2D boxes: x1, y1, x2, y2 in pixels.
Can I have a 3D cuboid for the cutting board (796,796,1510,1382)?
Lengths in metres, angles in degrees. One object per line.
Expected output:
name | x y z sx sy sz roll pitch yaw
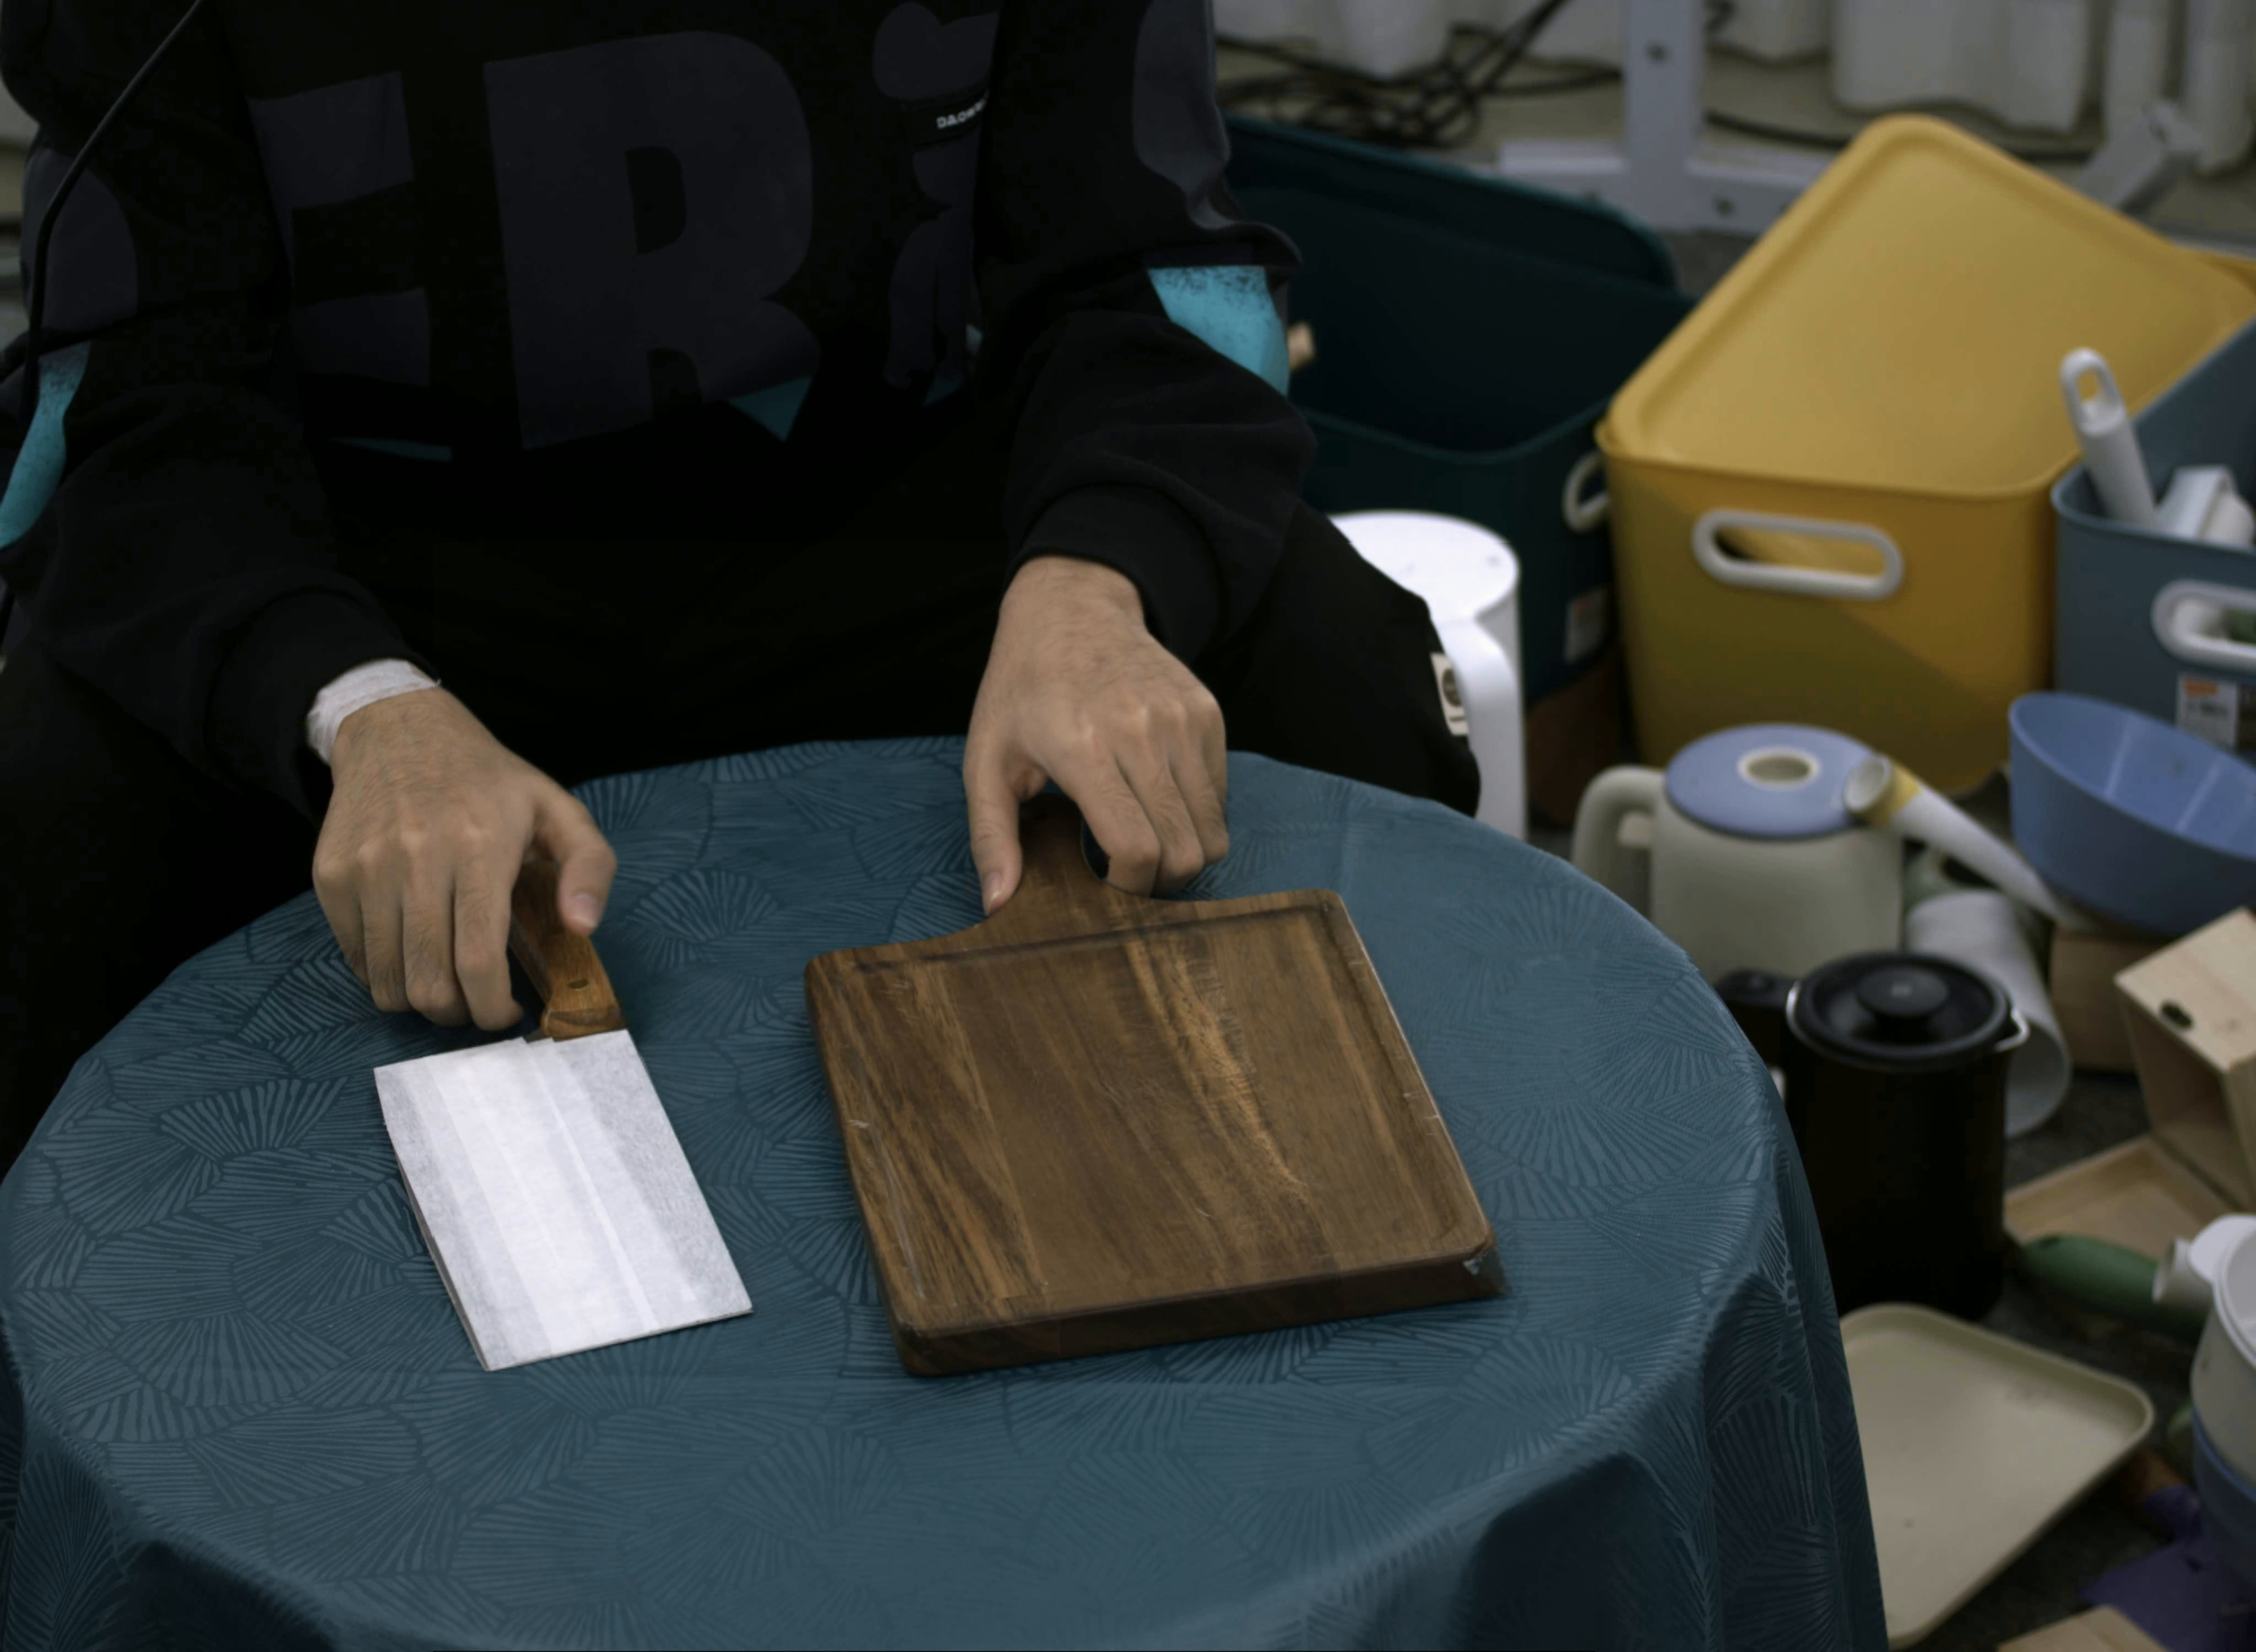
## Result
cutting board | -0.006 0.076 1.928 0.201 0.023 0.356 -7 28 -8

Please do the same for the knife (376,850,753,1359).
knife | -0.206 0.094 1.920 0.093 0.021 0.309 -12 31 -13
